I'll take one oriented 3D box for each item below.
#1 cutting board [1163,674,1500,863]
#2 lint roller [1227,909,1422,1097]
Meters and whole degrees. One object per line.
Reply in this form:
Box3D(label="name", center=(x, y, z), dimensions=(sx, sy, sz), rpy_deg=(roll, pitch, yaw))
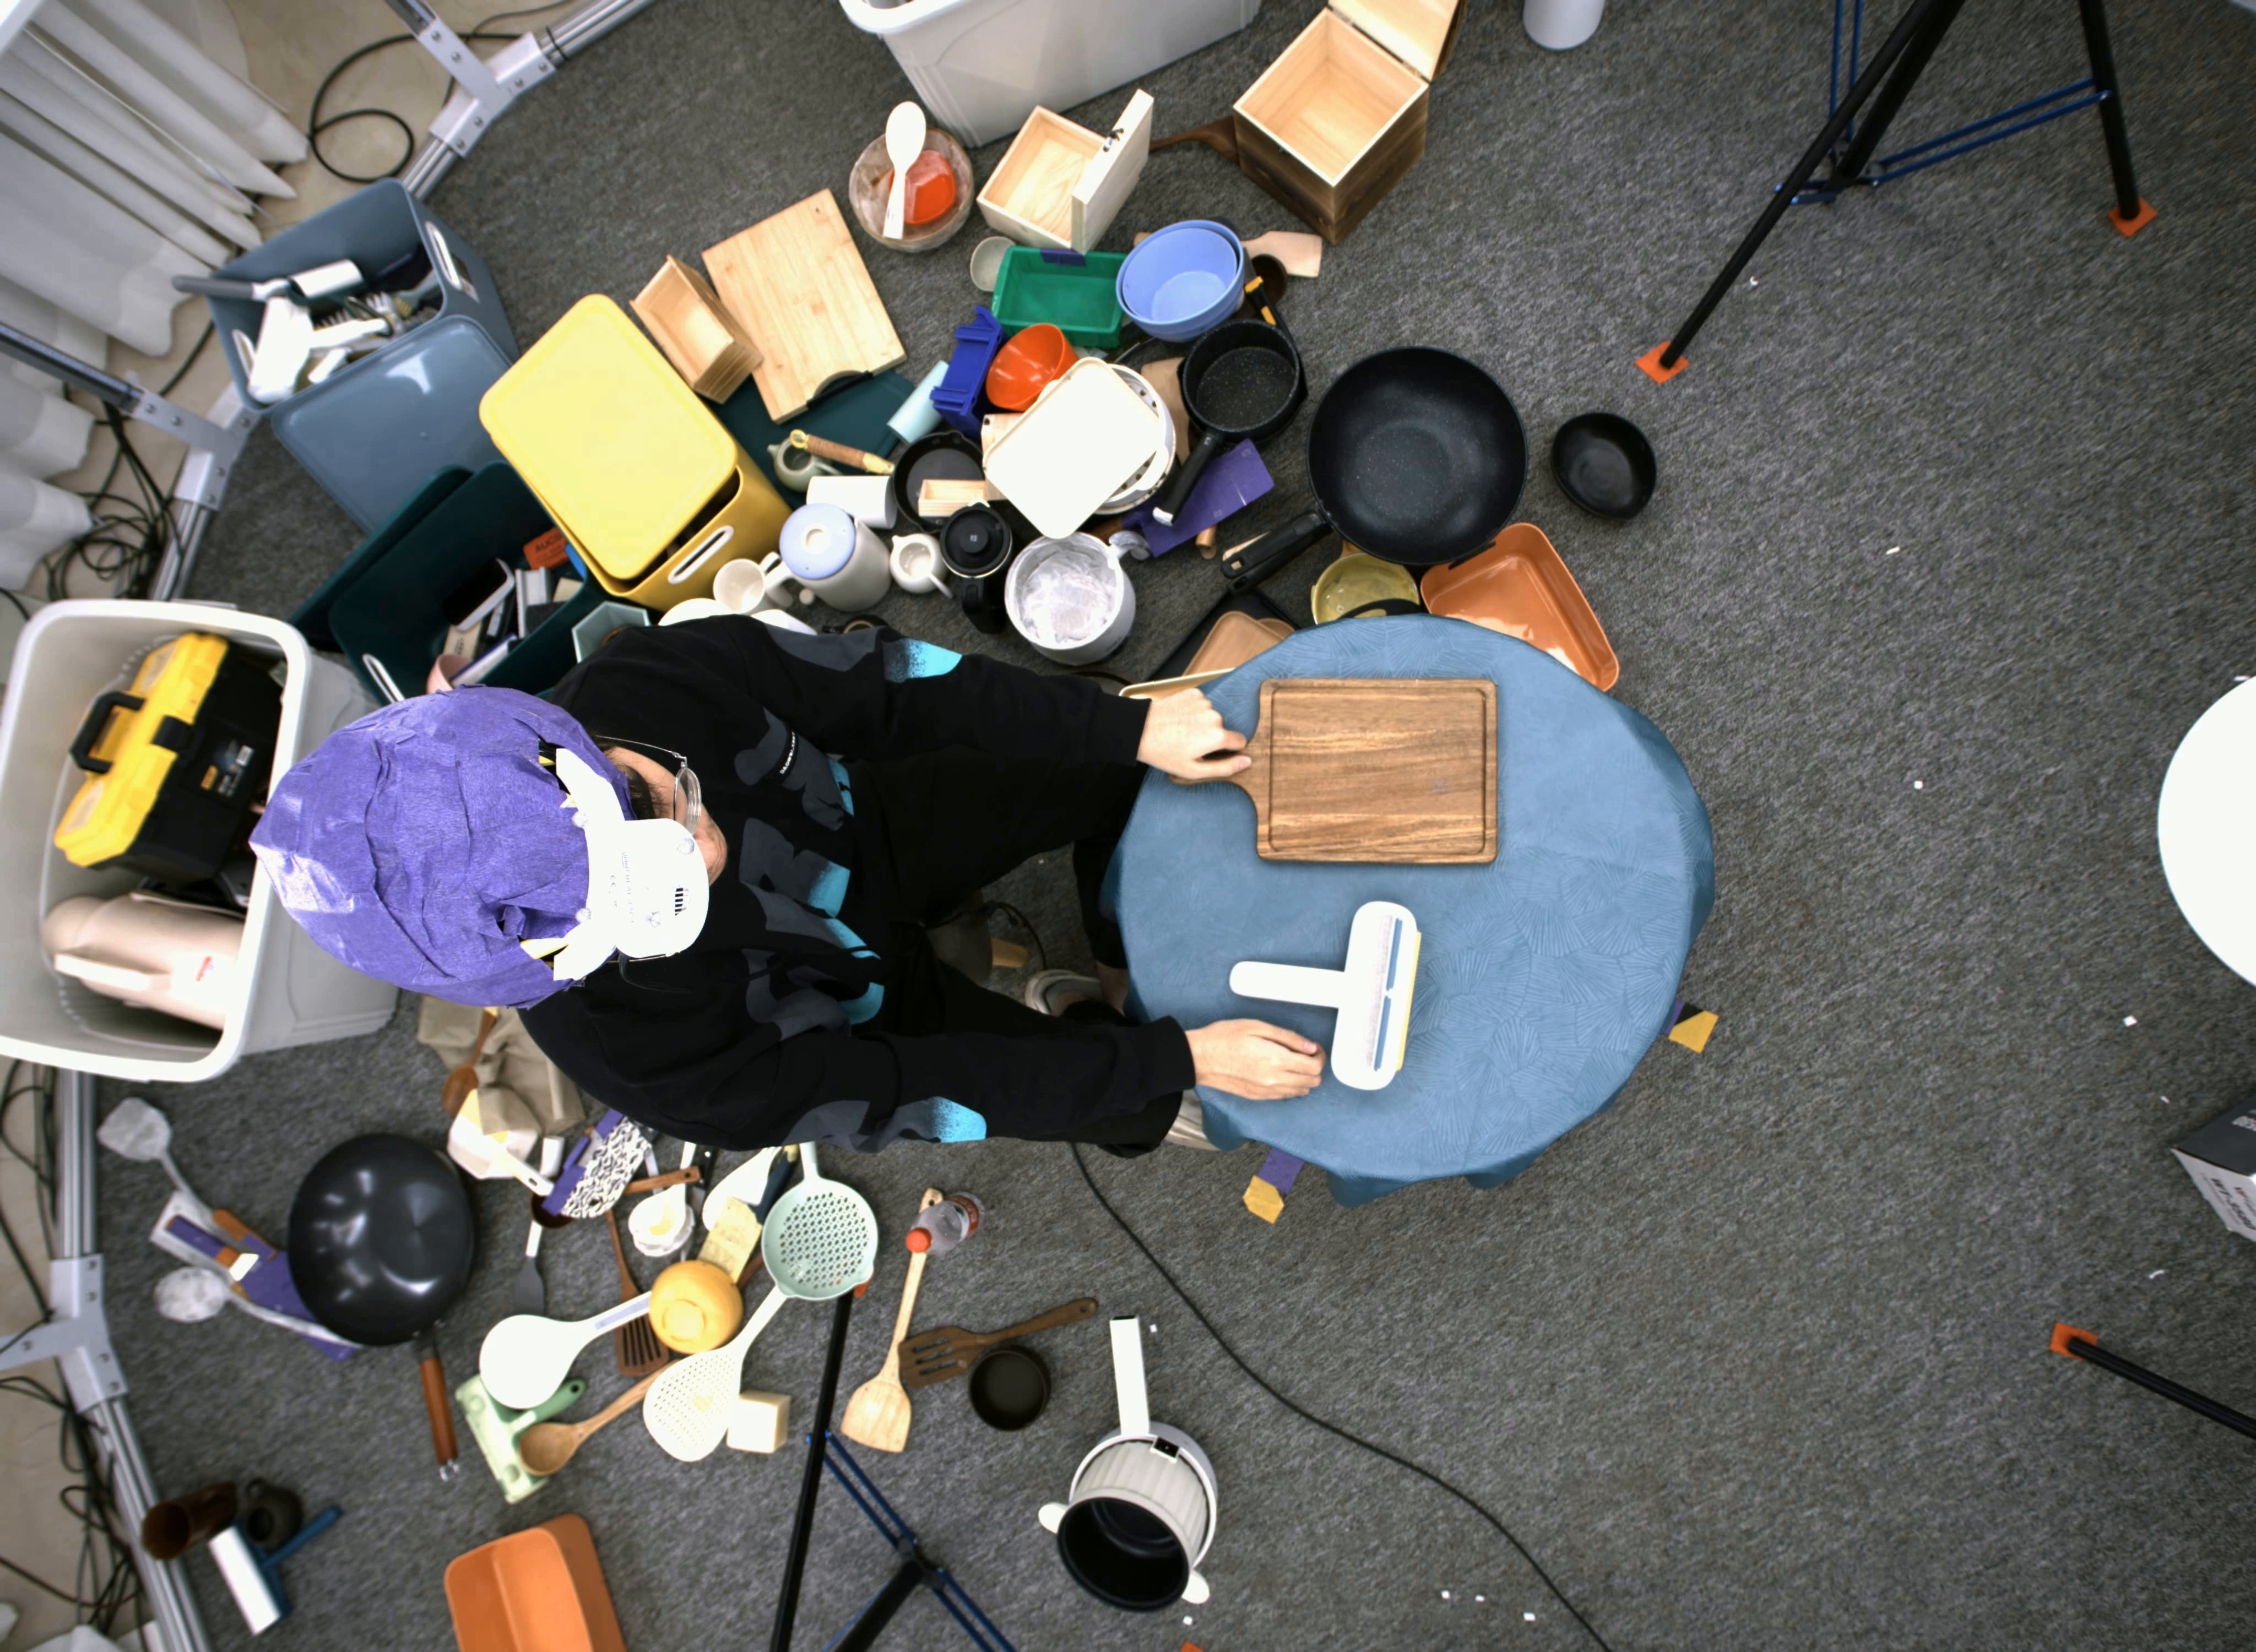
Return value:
Box3D(label="cutting board", center=(0.213, -0.062, 1.458), dimensions=(0.353, 0.023, 0.200), rpy_deg=(0, 88, 9))
Box3D(label="lint roller", center=(0.195, 0.168, 1.430), dimensions=(0.193, 0.074, 0.191), rpy_deg=(12, 81, 12))
